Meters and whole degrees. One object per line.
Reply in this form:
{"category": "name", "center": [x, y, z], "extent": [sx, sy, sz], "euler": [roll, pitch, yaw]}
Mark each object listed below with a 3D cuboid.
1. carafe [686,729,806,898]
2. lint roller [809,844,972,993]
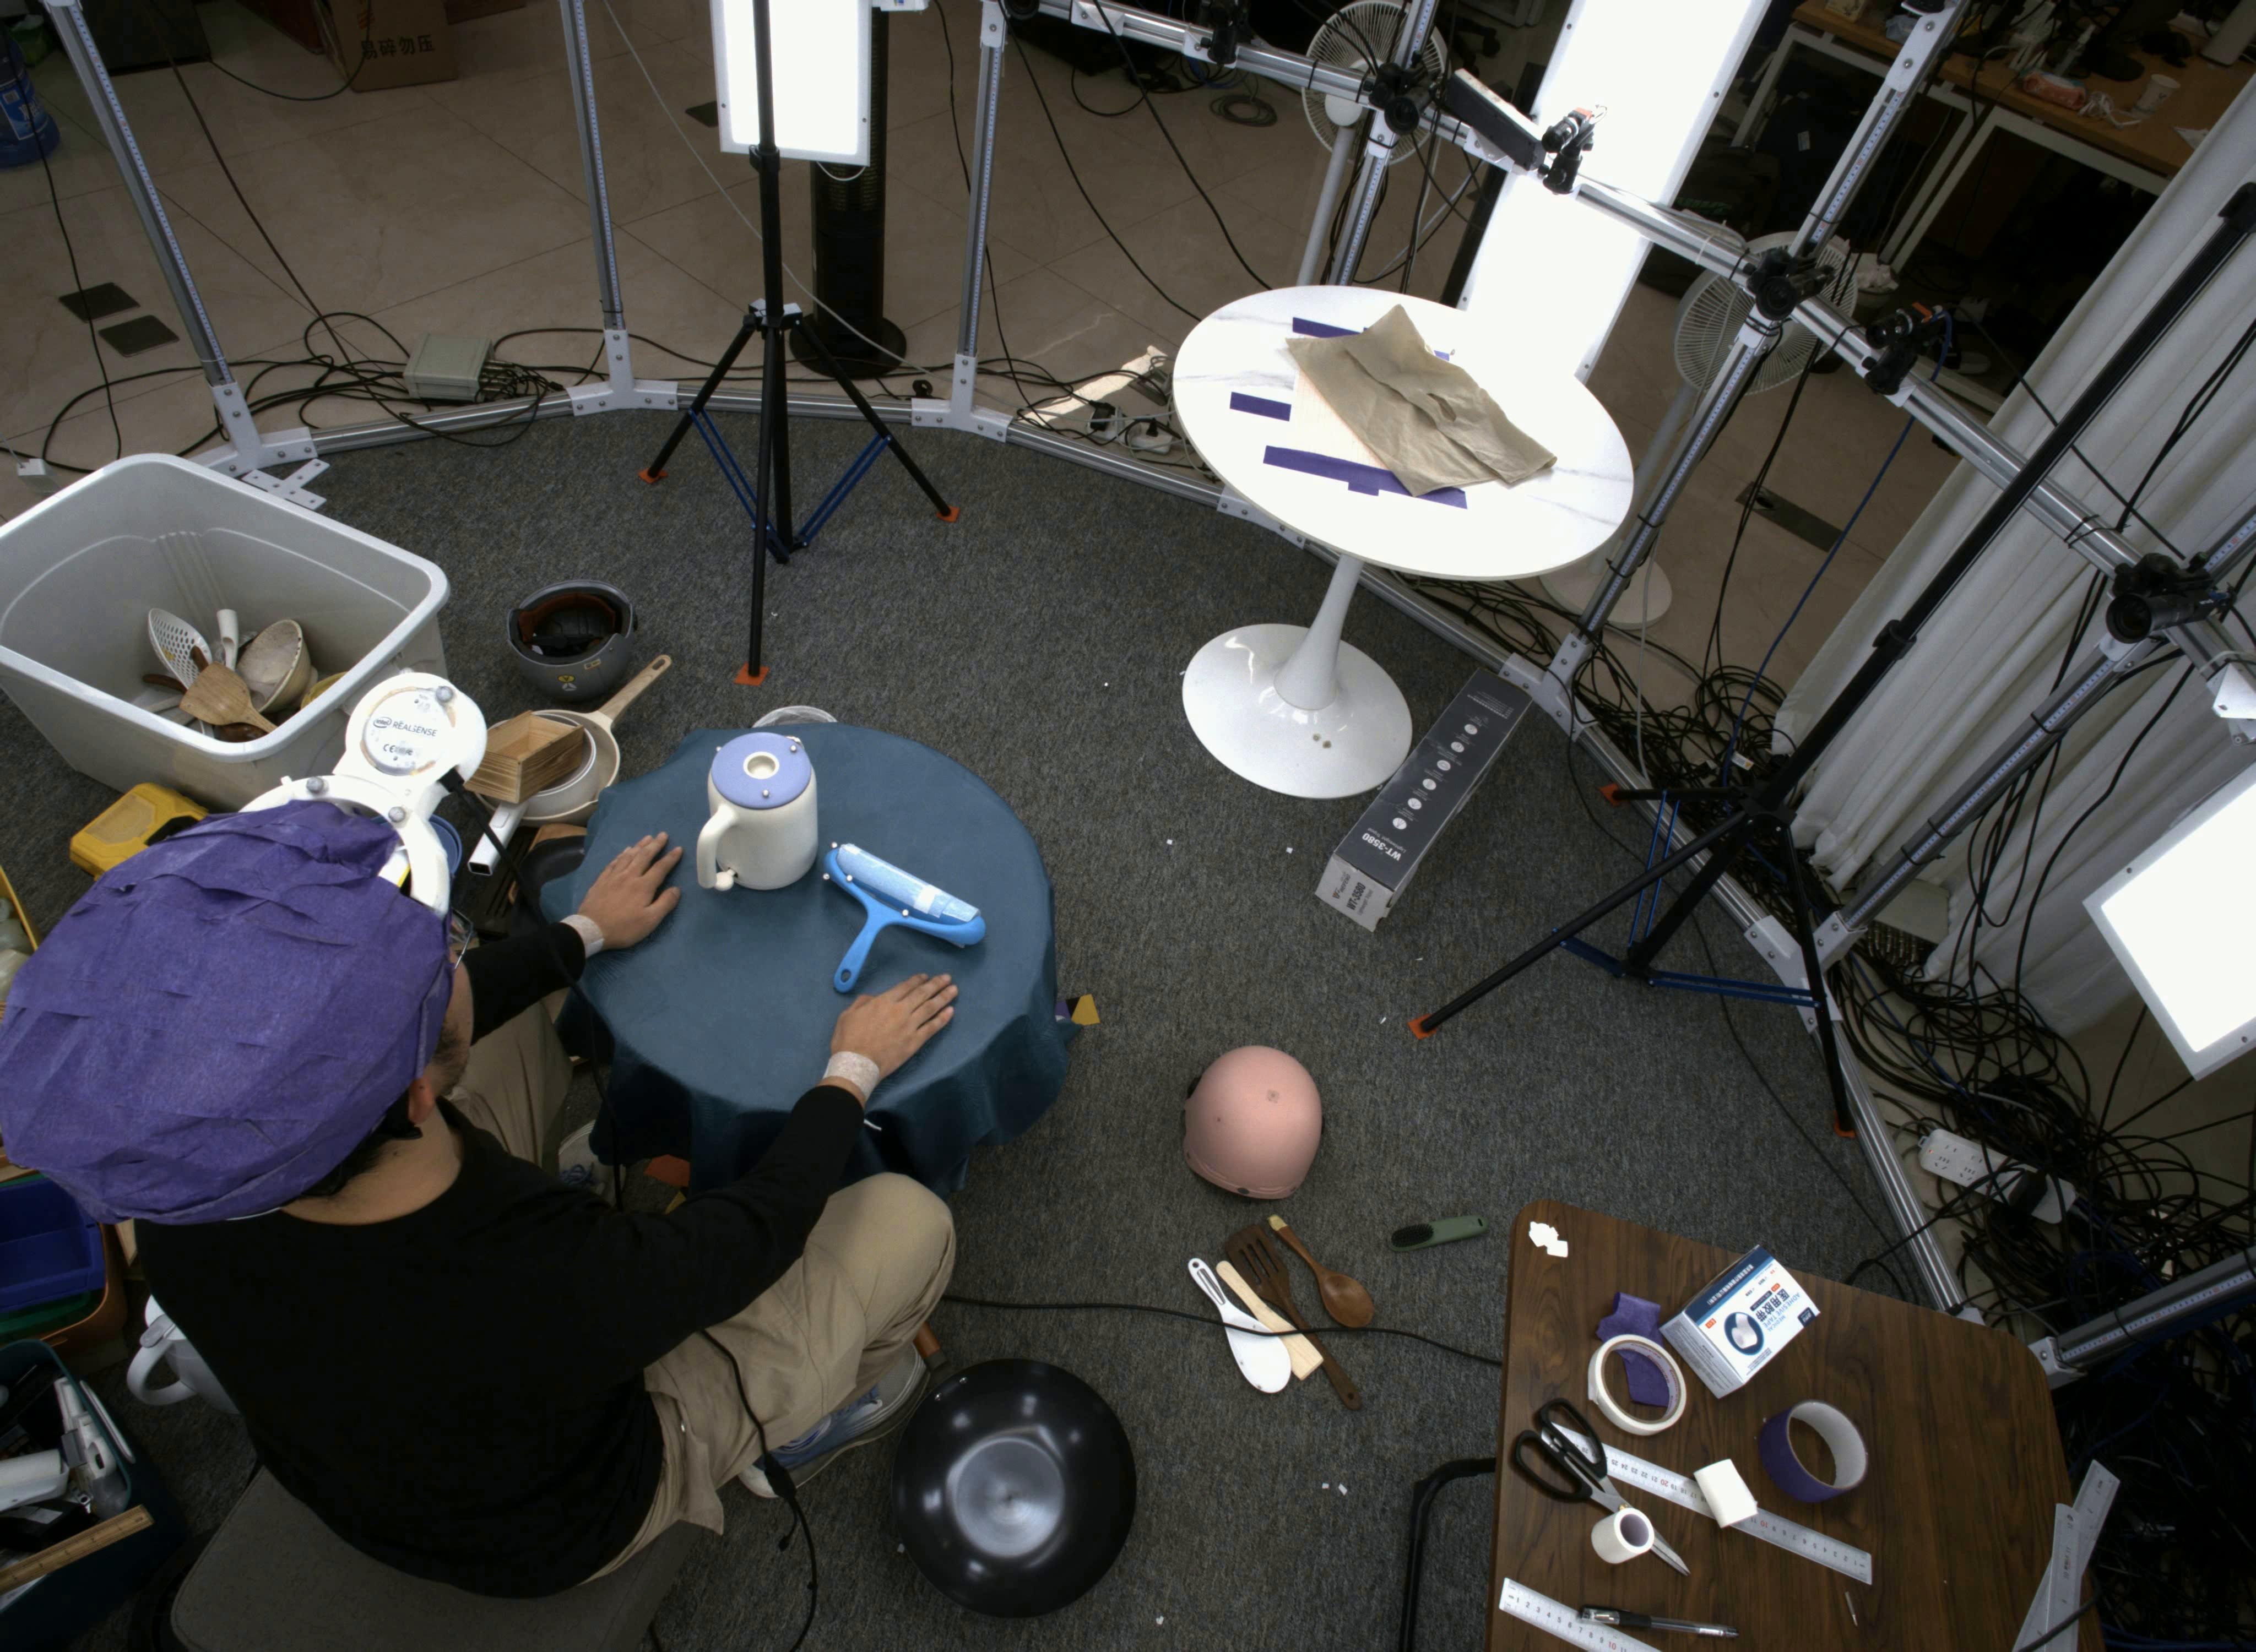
{"category": "carafe", "center": [-0.482, -0.002, 1.594], "extent": [0.130, 0.186, 0.190], "euler": [26, 54, 9]}
{"category": "lint roller", "center": [-0.322, 0.124, 1.614], "extent": [0.227, 0.069, 0.179], "euler": [26, 47, 2]}
